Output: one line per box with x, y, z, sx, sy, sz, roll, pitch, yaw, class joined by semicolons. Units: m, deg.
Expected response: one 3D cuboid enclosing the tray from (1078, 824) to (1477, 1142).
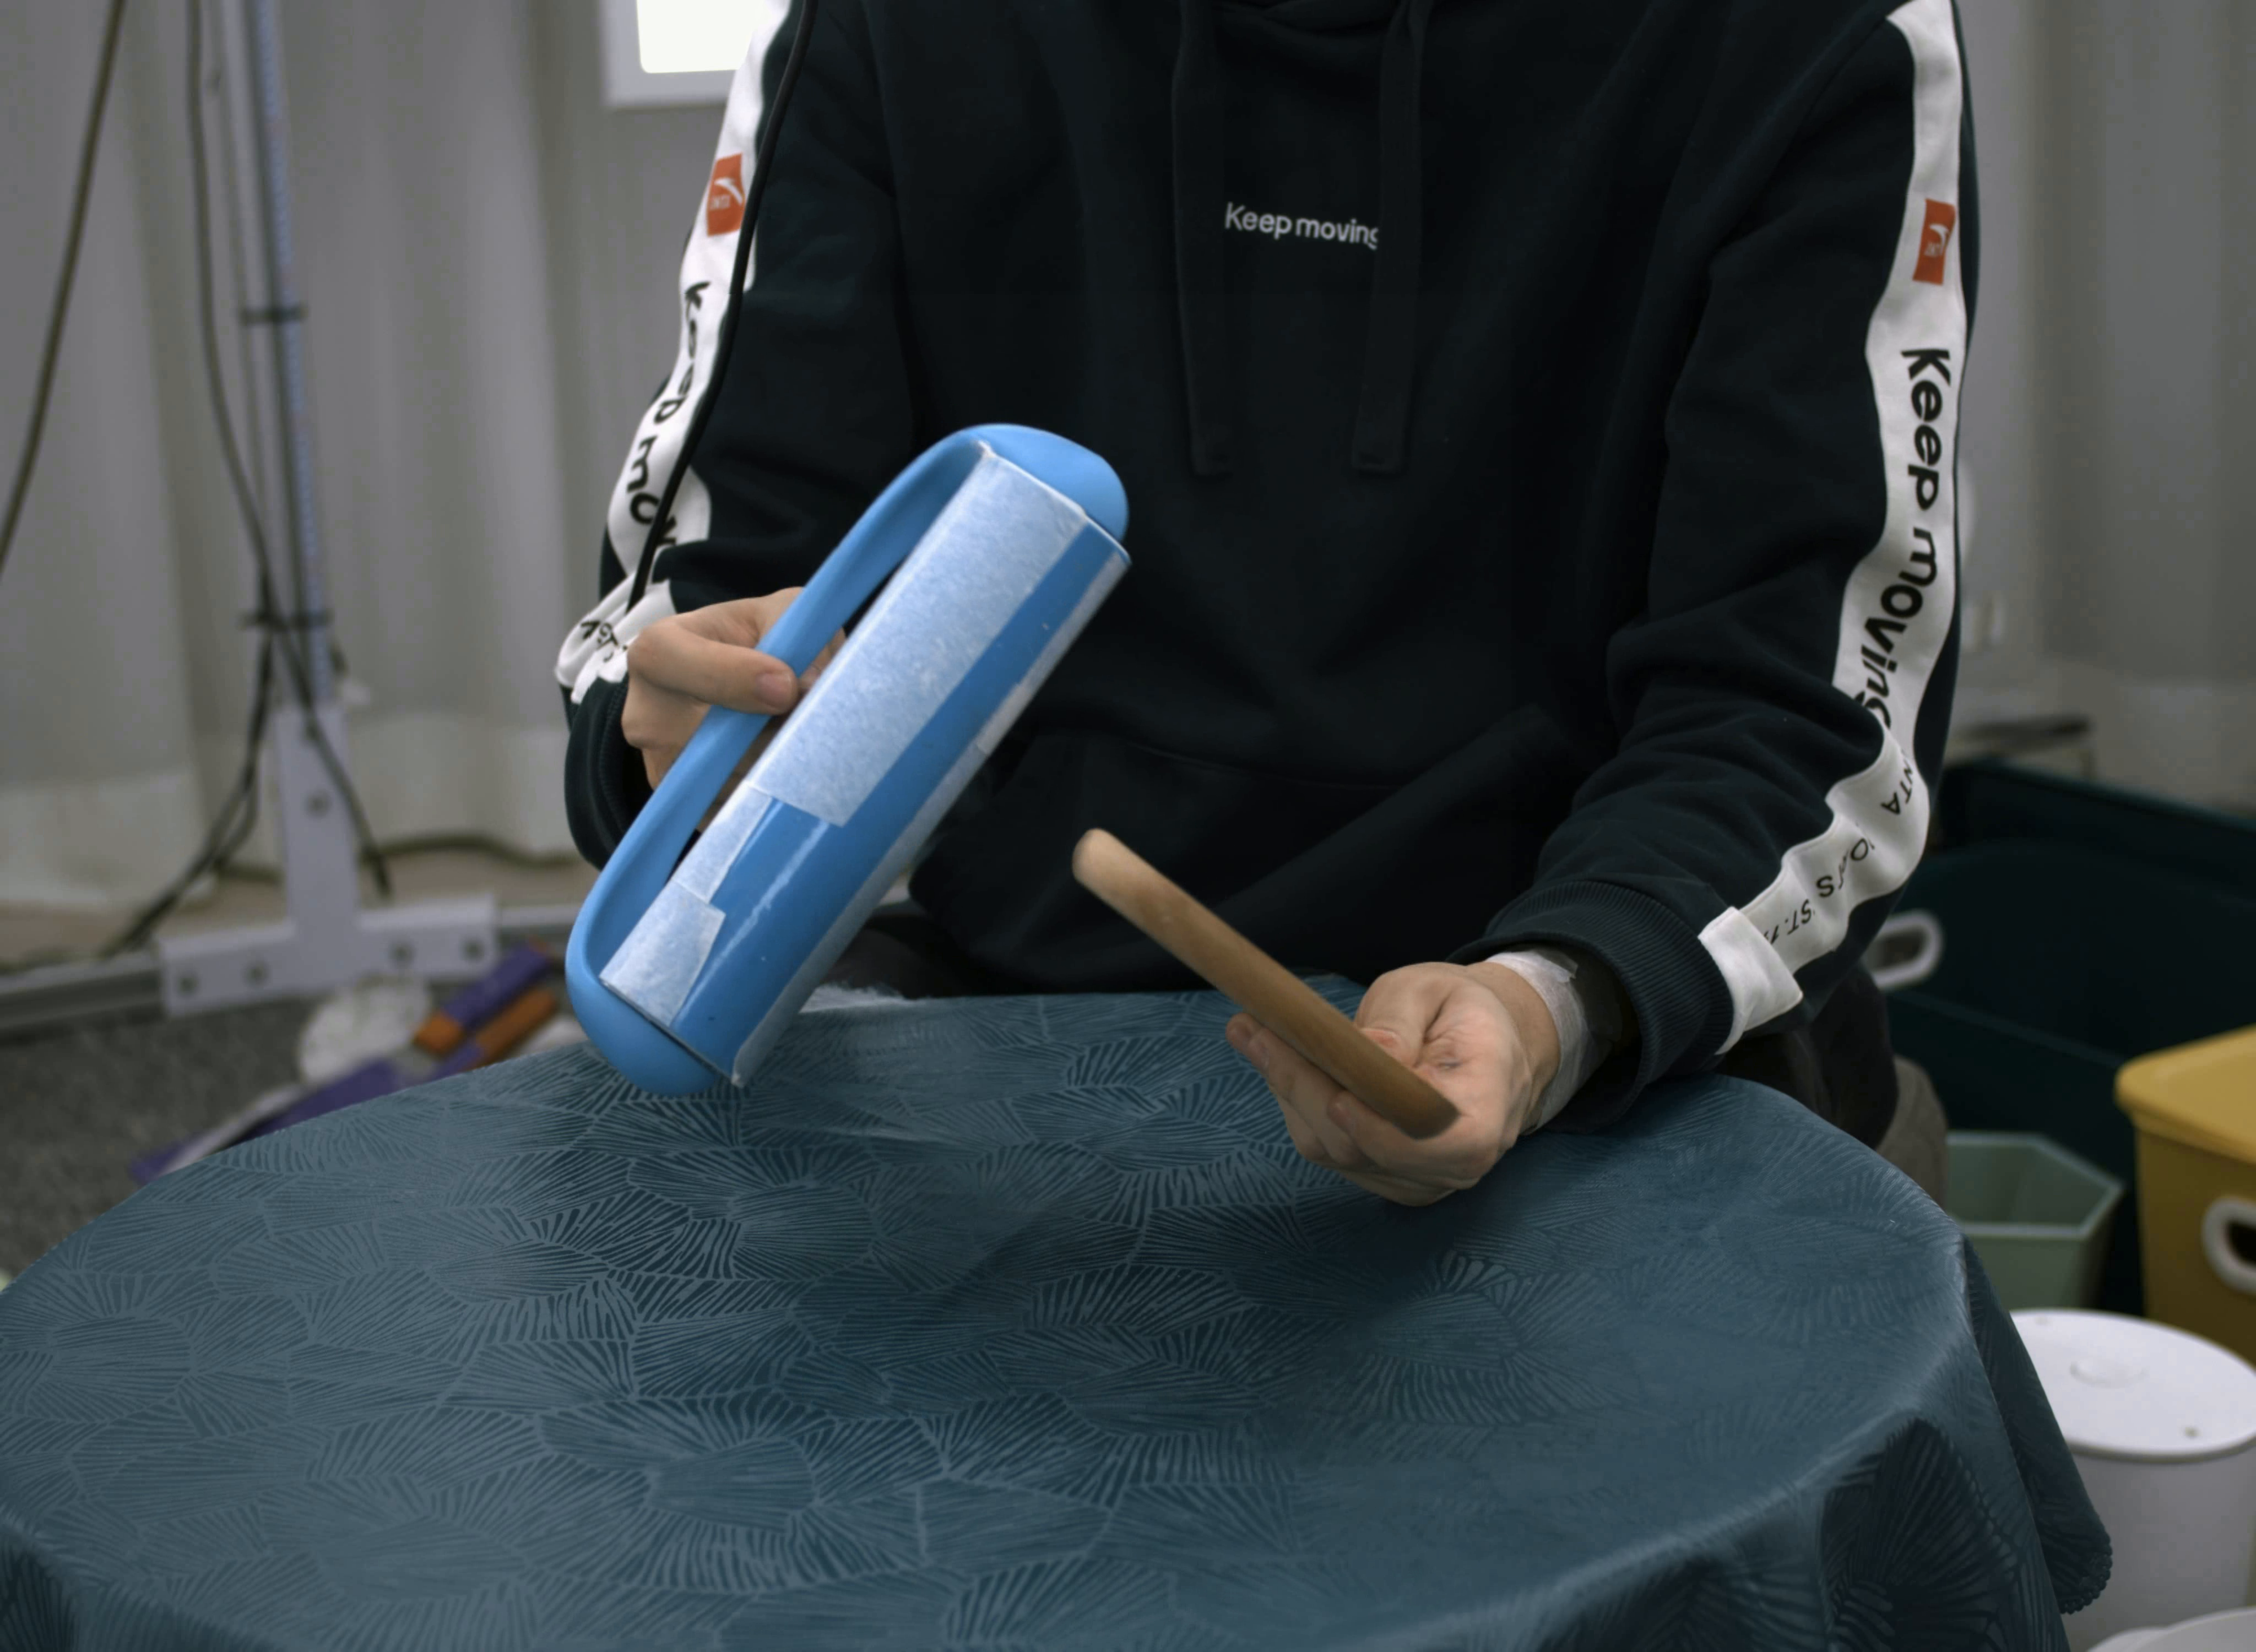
0.038;0.045;1.576;0.130;0.023;0.250;41;-2;0;tray

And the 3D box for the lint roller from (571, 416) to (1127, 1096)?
-0.096;-0.025;1.654;0.067;0.229;0.181;36;-7;-18;lint roller
